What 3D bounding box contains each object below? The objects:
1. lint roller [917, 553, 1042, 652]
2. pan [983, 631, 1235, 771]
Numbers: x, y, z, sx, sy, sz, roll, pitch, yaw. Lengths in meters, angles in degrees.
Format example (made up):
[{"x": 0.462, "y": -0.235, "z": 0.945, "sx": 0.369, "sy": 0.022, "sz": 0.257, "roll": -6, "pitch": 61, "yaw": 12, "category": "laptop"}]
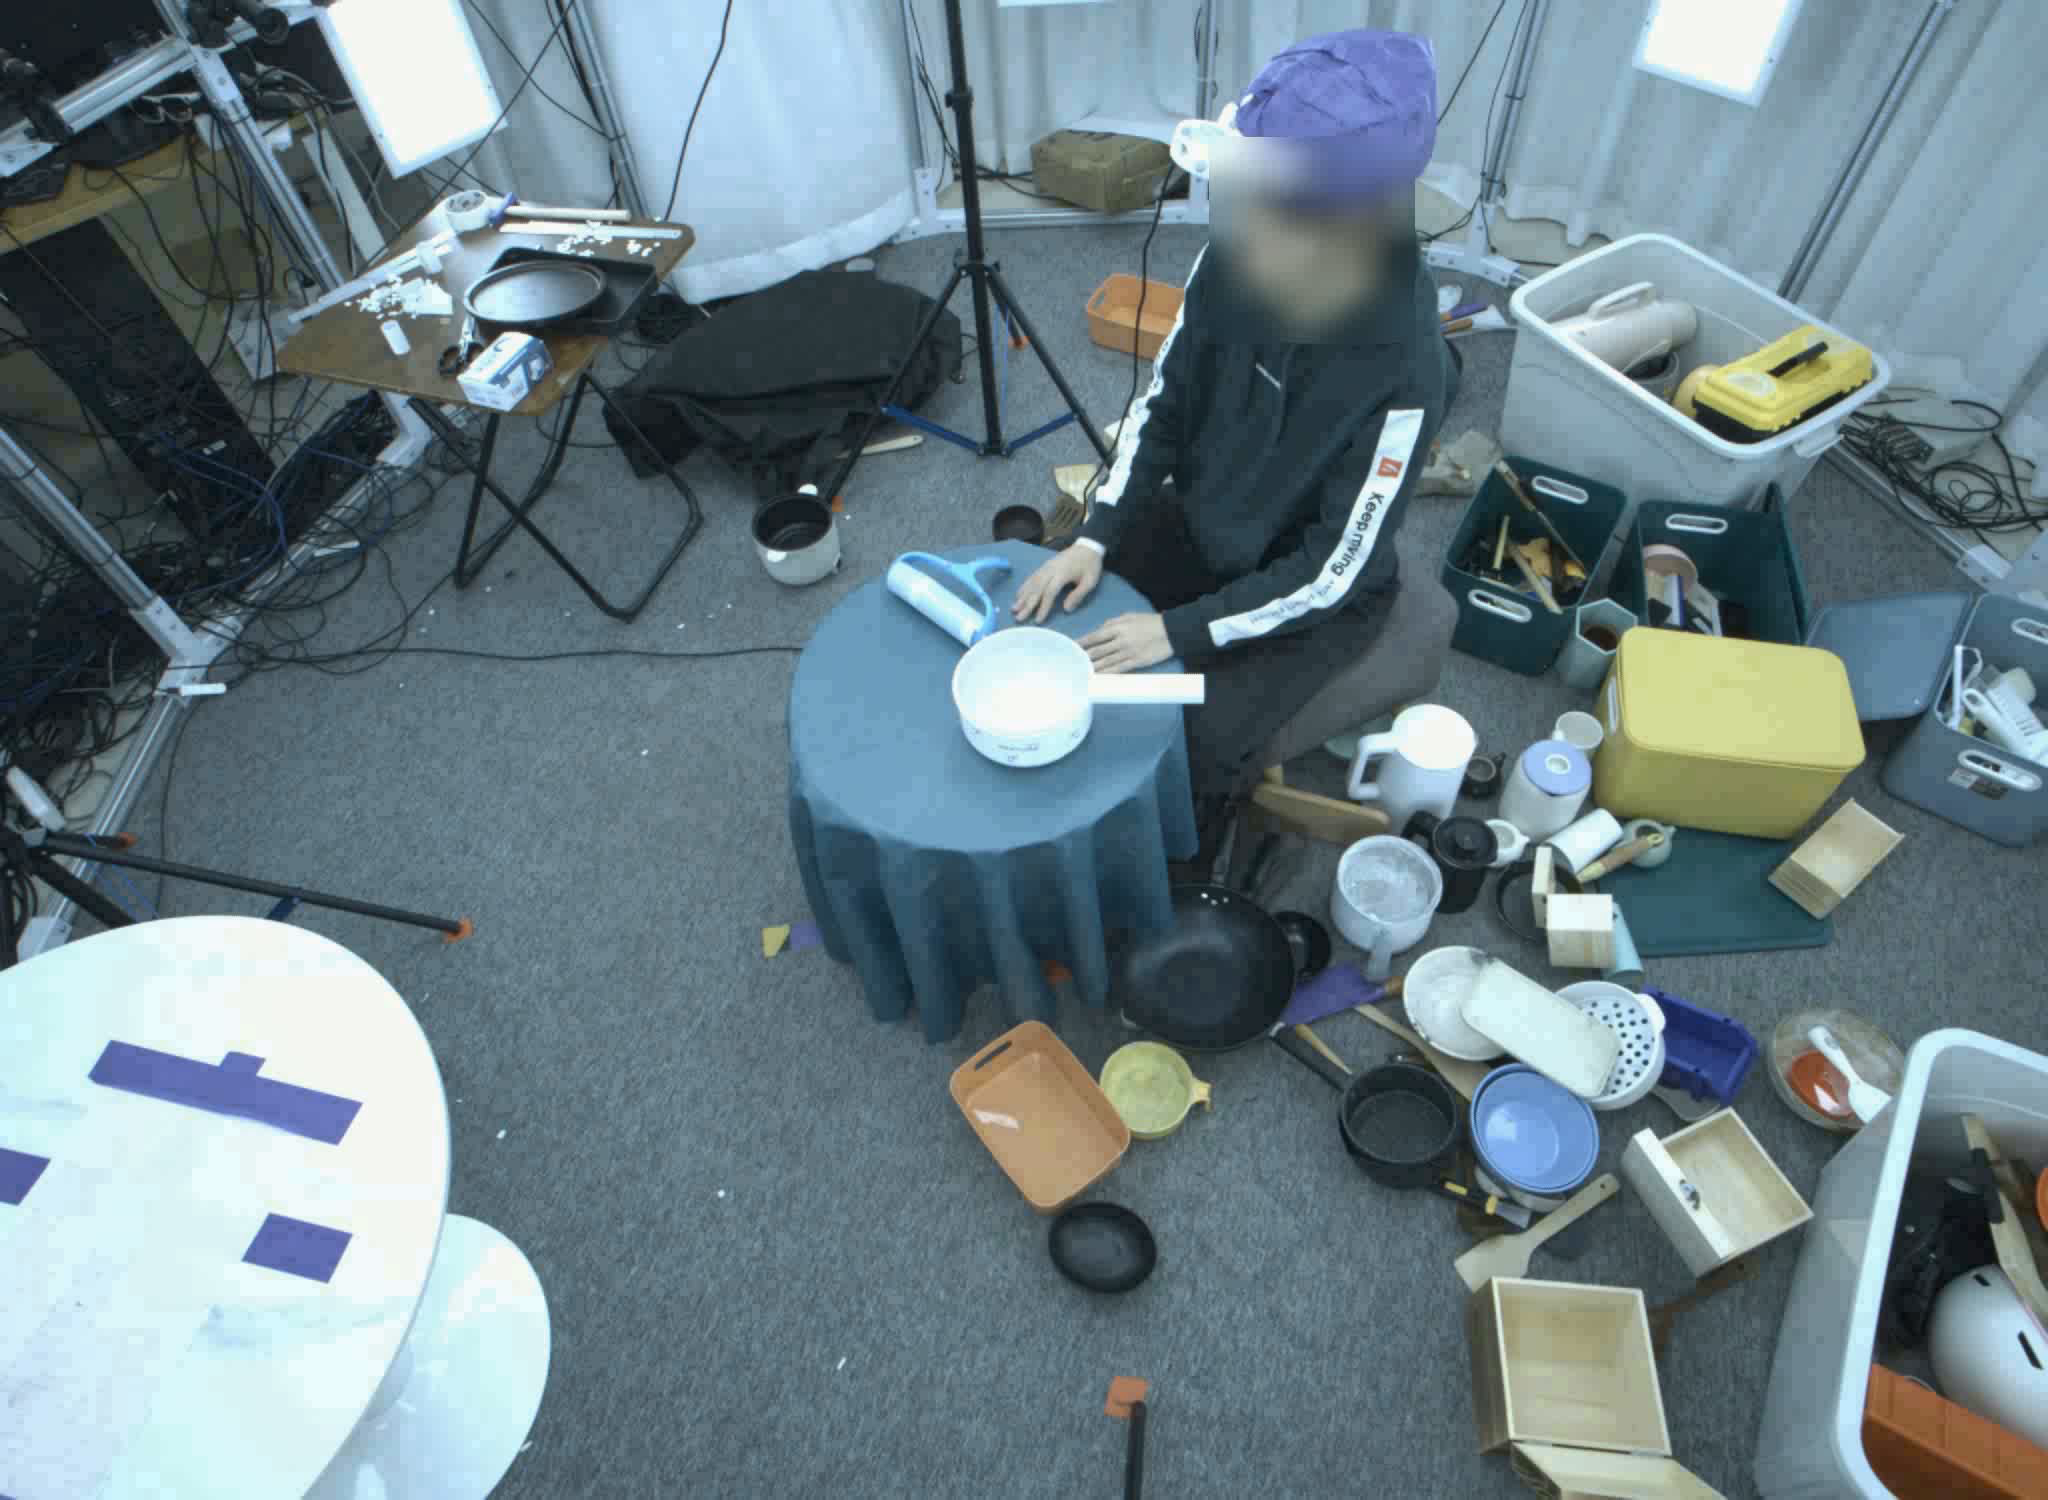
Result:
[{"x": -0.044, "y": -0.261, "z": 1.935, "sx": 0.224, "sy": 0.069, "sz": 0.181, "roll": 36, "pitch": 64, "yaw": 26, "category": "lint roller"}, {"x": 0.121, "y": -0.061, "z": 1.761, "sx": 0.354, "sy": 0.103, "sz": 0.199, "roll": 3, "pitch": 54, "yaw": 4, "category": "pan"}]
